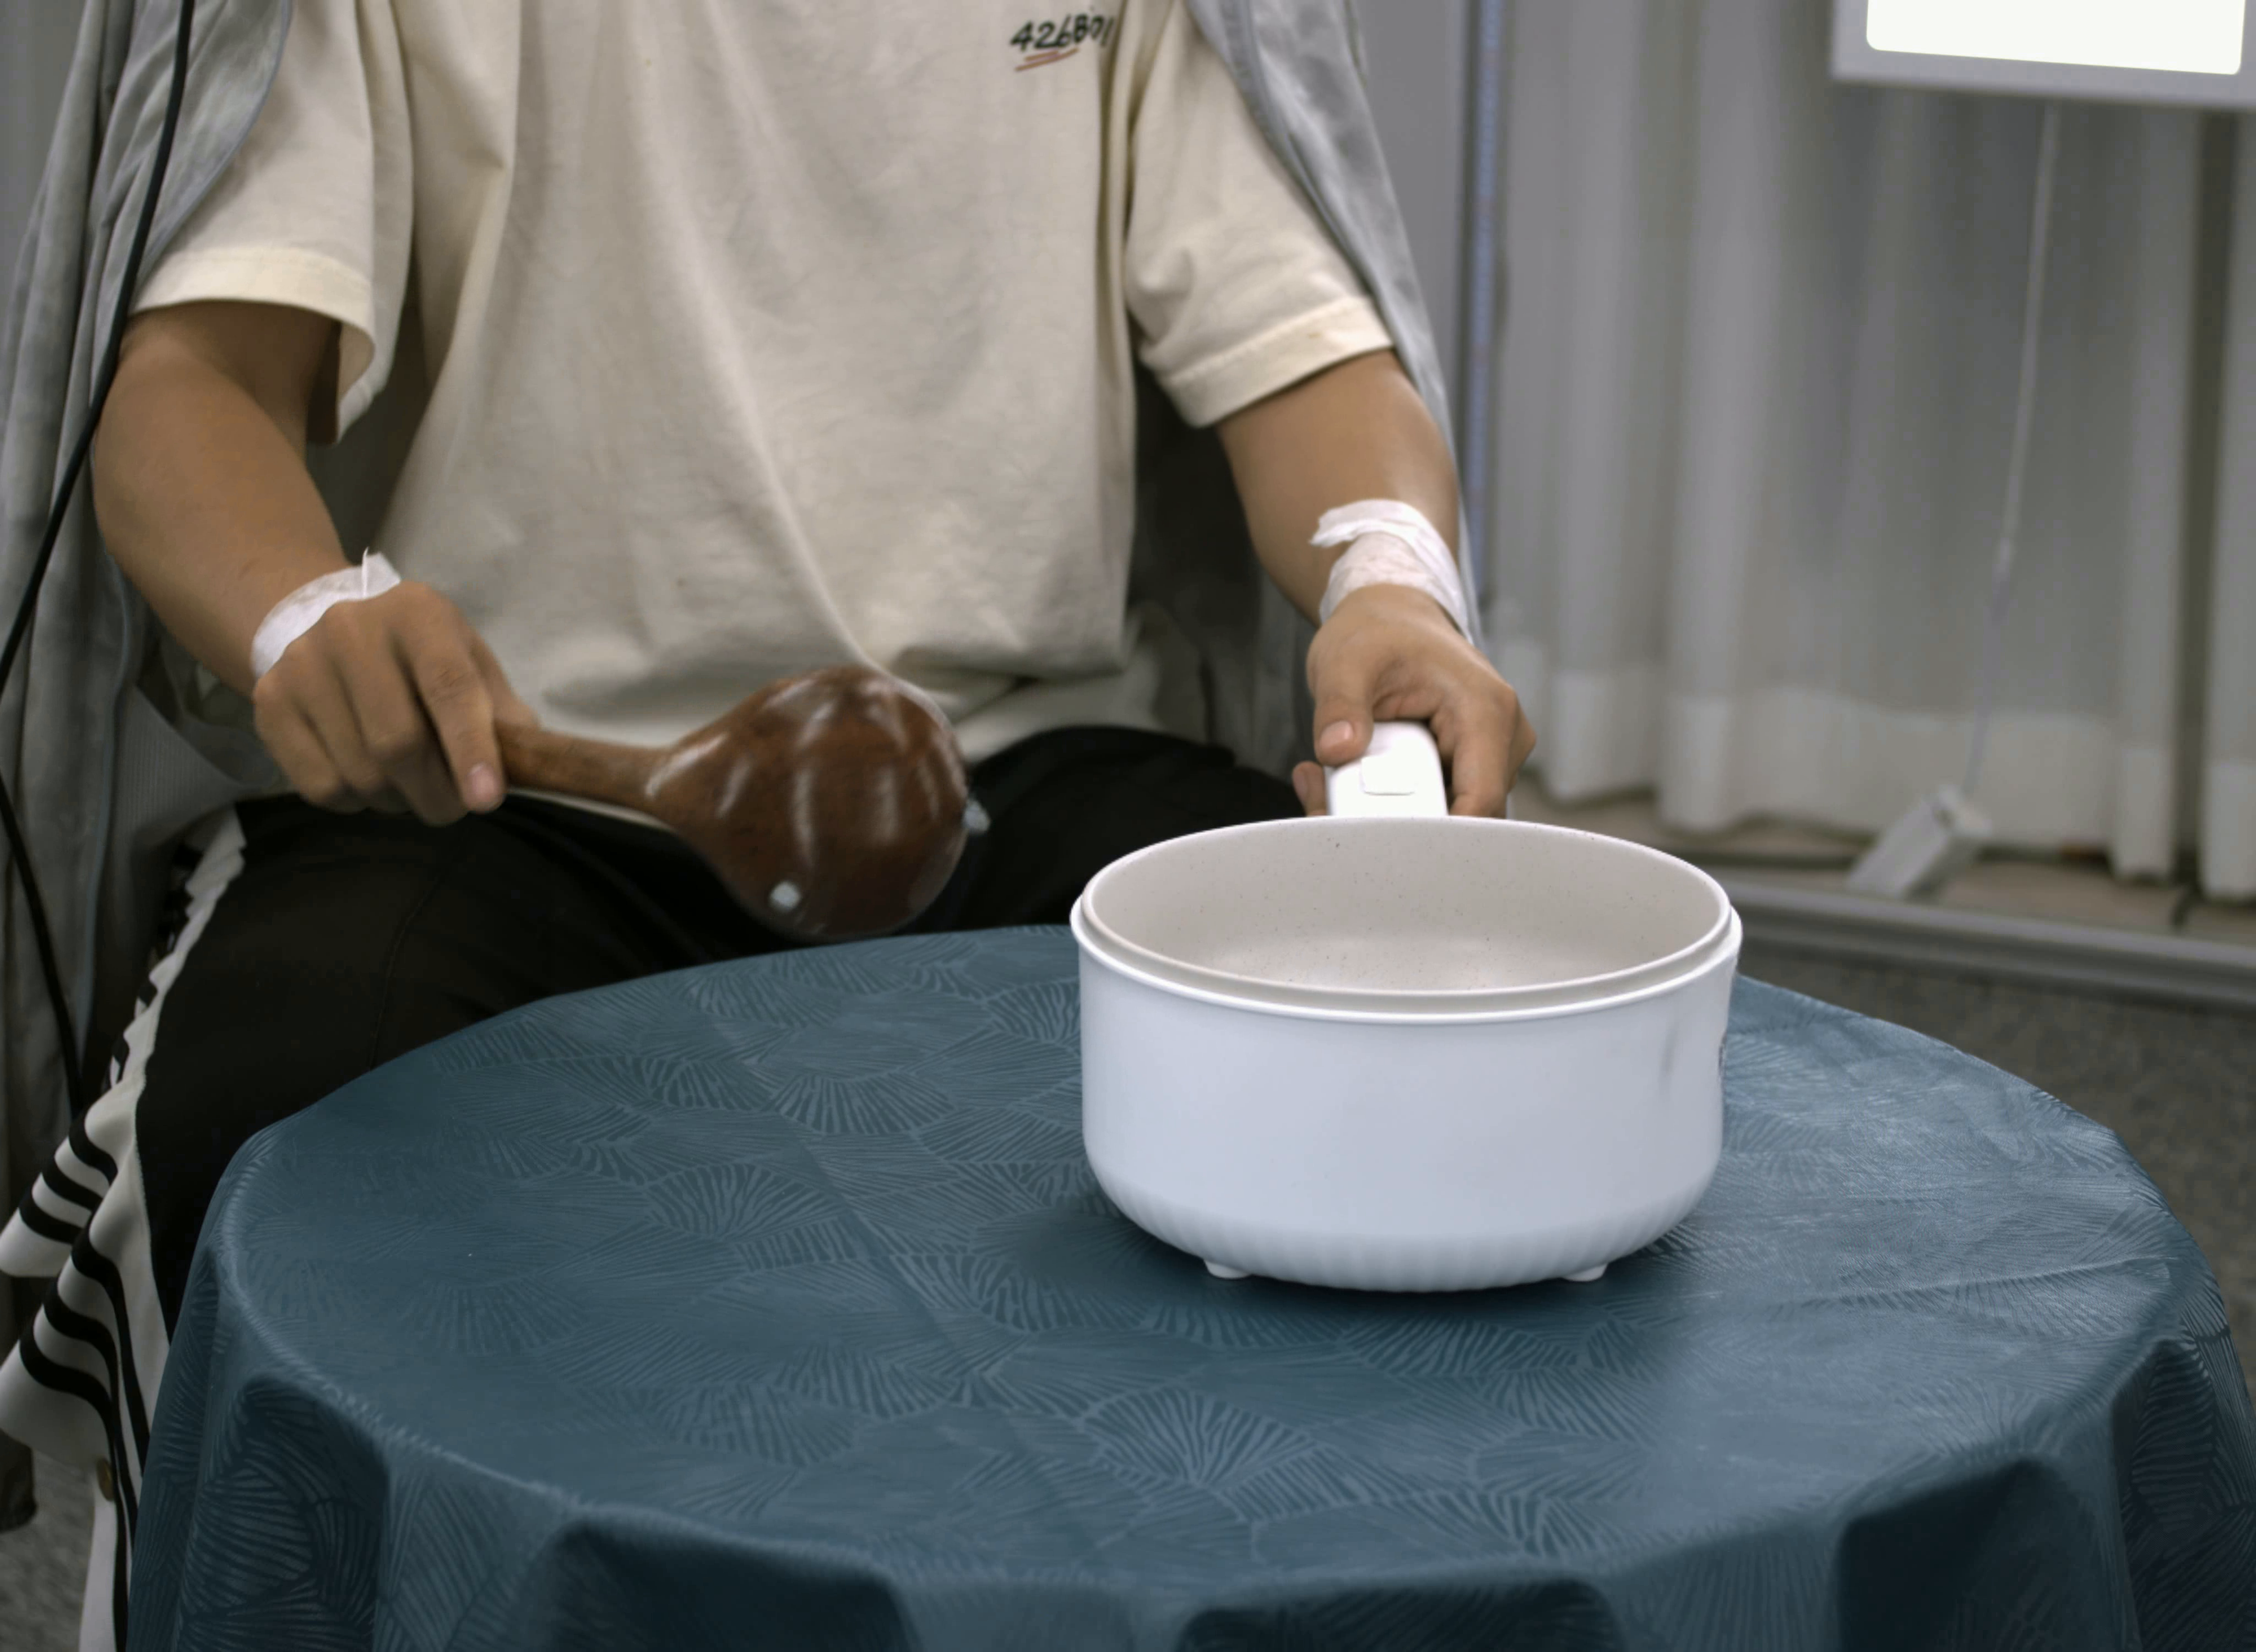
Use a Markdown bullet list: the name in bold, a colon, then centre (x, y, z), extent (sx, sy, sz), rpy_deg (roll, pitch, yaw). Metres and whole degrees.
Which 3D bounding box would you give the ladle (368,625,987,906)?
- **ladle**: centre (-0.140, -0.020, 1.615), extent (0.077, 0.082, 0.271), rpy_deg (13, -6, -33)

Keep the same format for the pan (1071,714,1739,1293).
- **pan**: centre (0.085, 0.051, 1.666), extent (0.200, 0.103, 0.353), rpy_deg (0, 15, 1)
